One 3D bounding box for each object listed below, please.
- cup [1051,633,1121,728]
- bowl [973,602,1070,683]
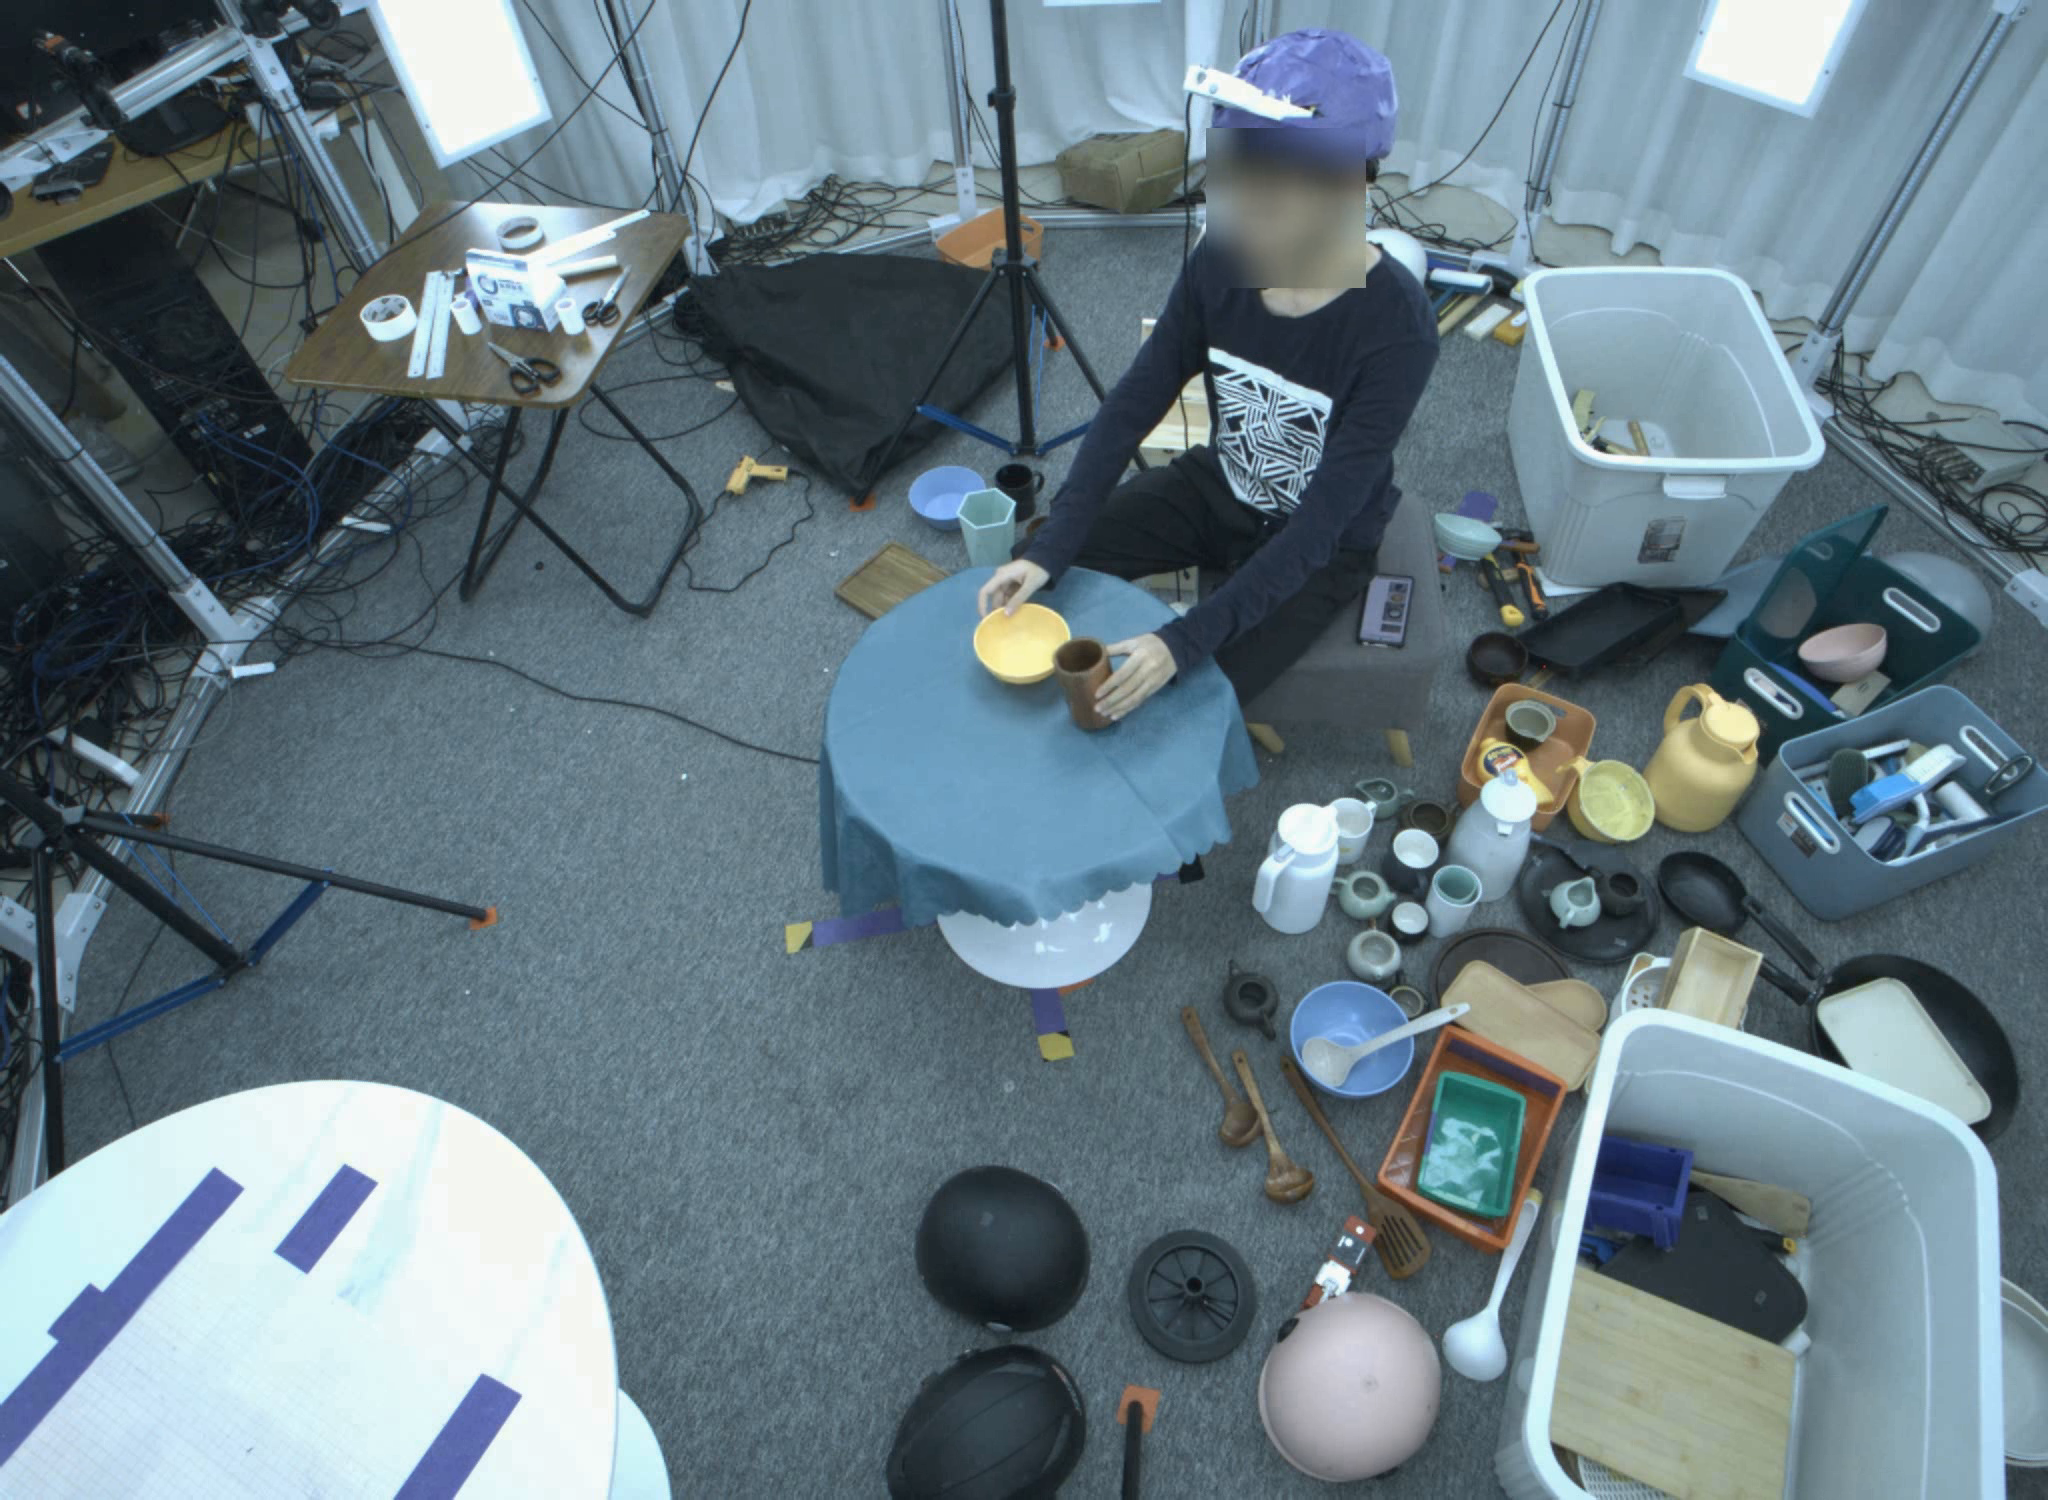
[{"bbox_3d":[0.089,-0.099,1.764,0.087,0.120,0.087,-7,49,10],"label":"cup"},{"bbox_3d":[-0.003,-0.150,1.851,0.145,0.061,0.144,0,55,1],"label":"bowl"}]
